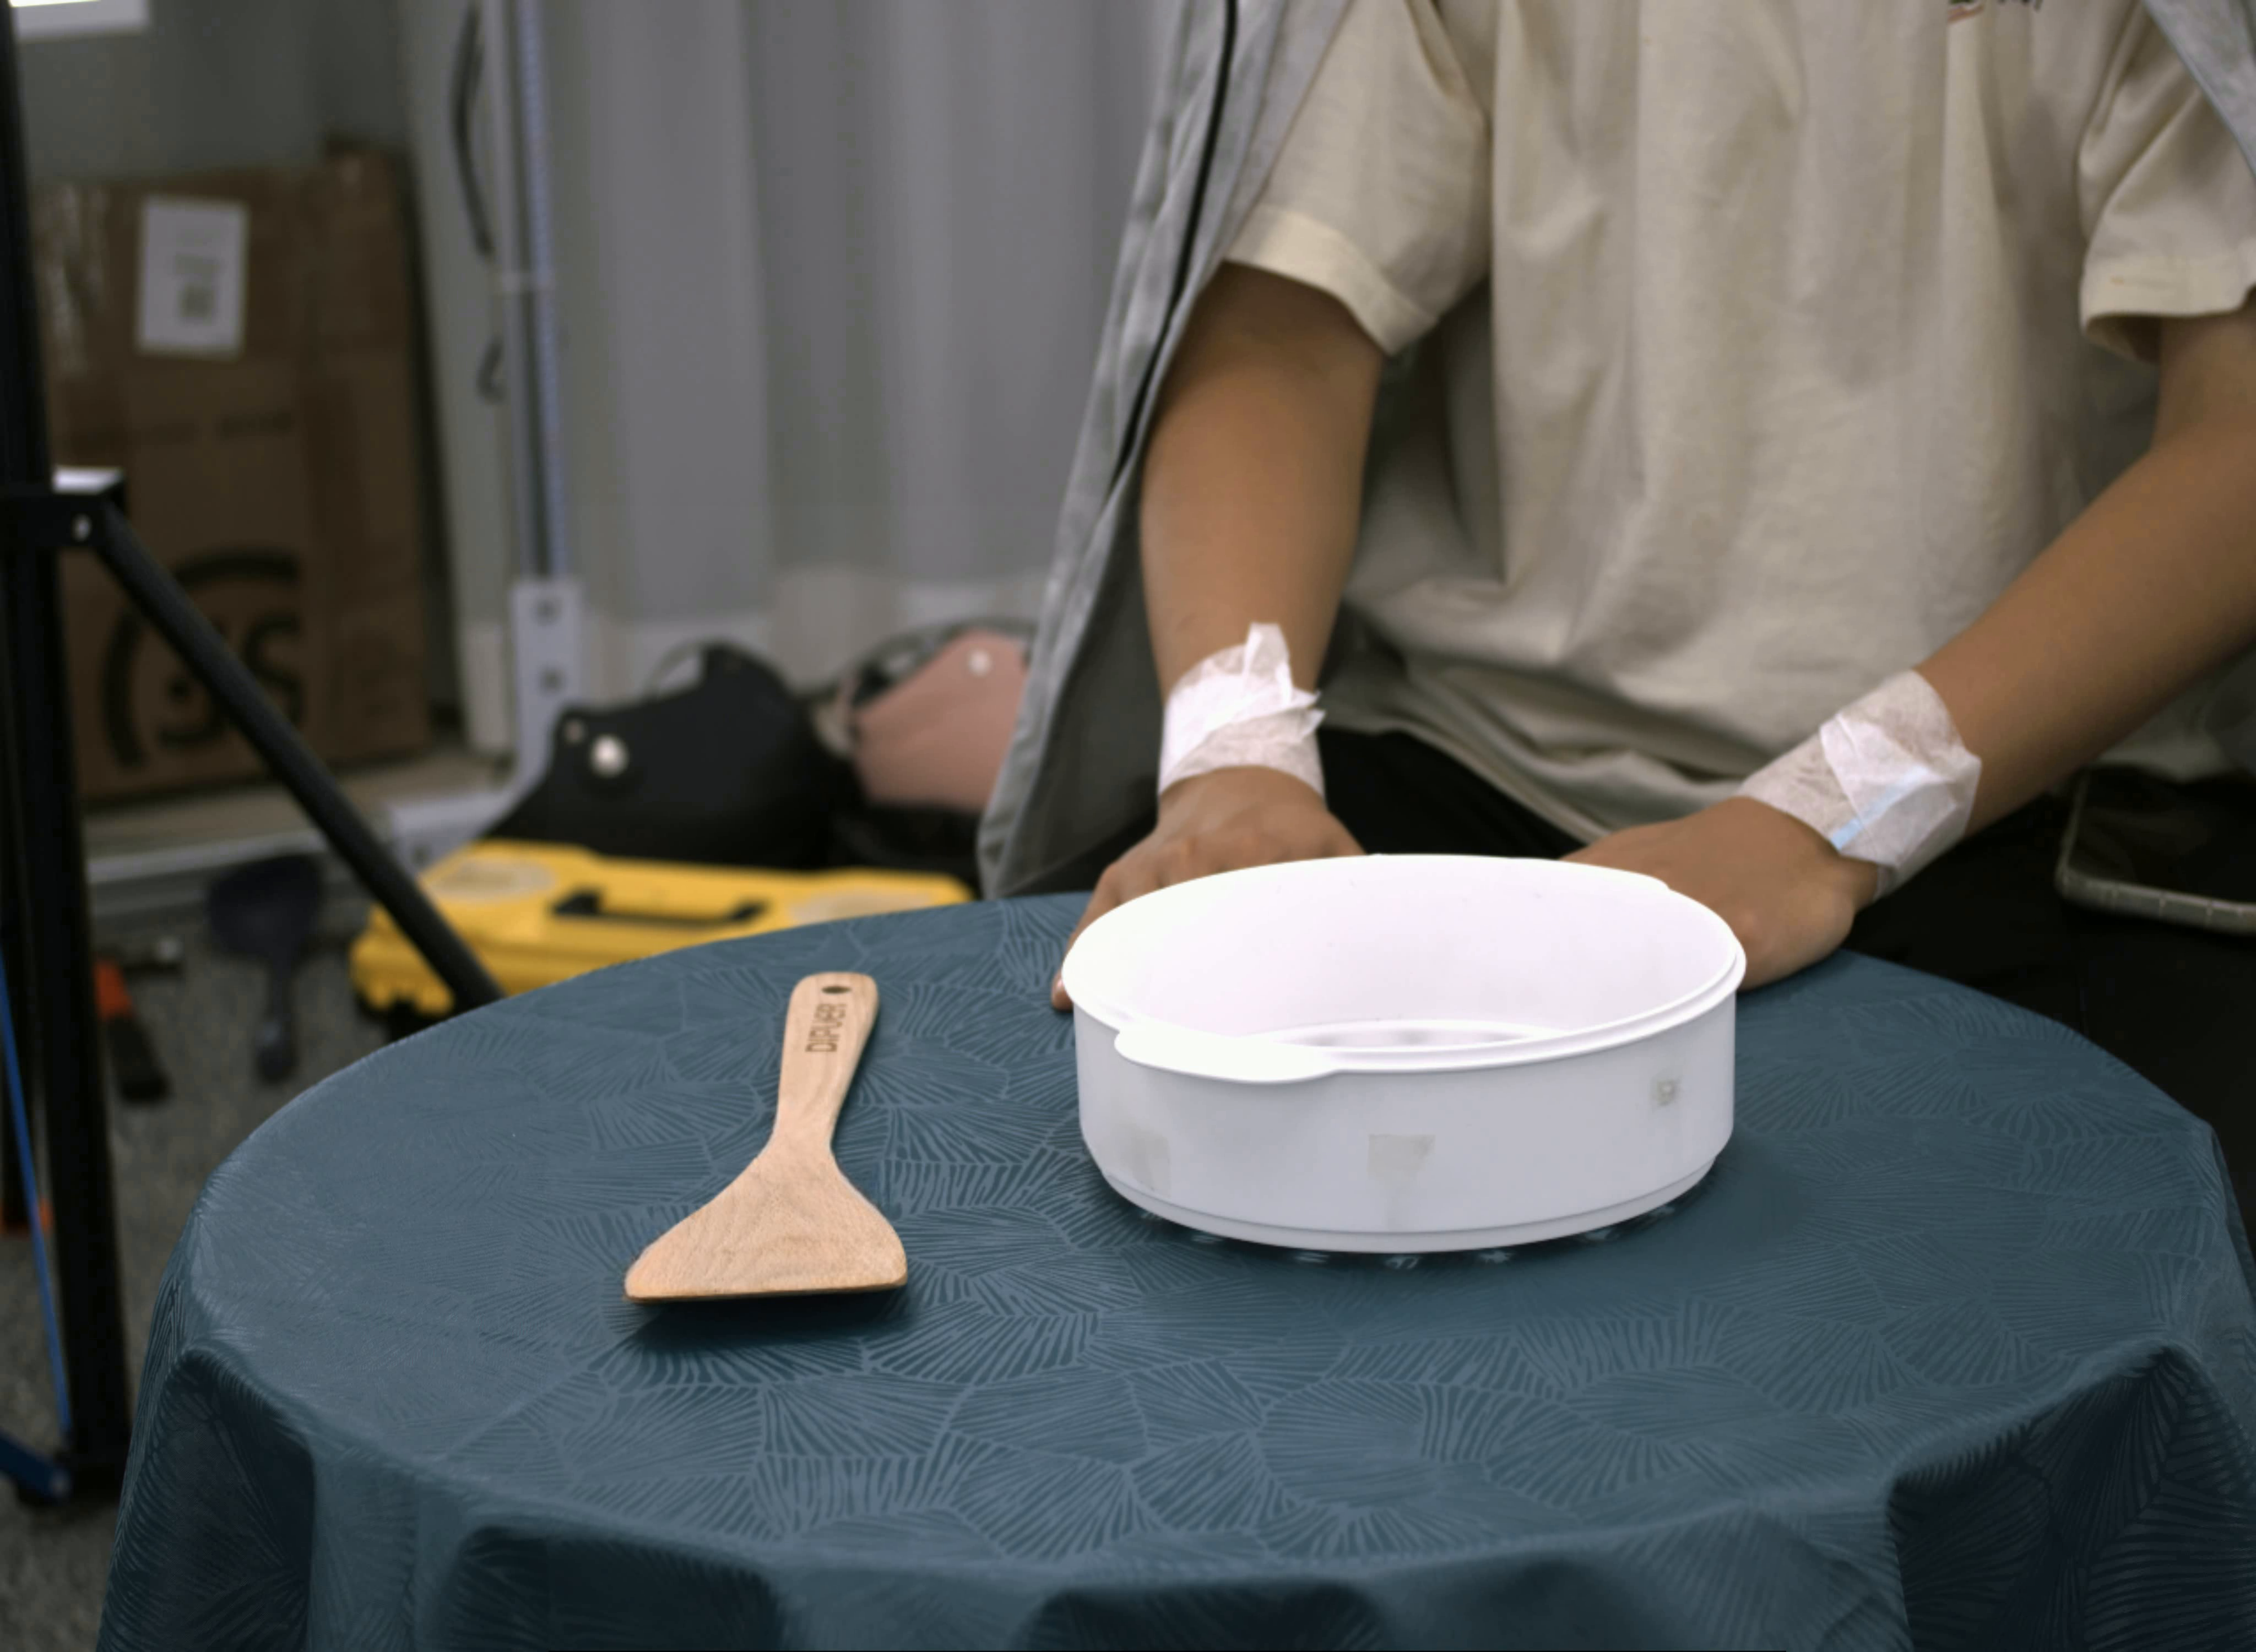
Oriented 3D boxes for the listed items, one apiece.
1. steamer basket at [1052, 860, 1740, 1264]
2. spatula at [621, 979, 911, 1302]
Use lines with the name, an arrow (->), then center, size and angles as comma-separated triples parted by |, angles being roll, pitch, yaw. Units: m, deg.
steamer basket -> 0.078, 0.069, 1.560 | 0.206, 0.069, 0.226 | 10, 19, 34
spatula -> -0.099, 0.091, 1.600 | 0.079, 0.016, 0.328 | -1, 15, 1
